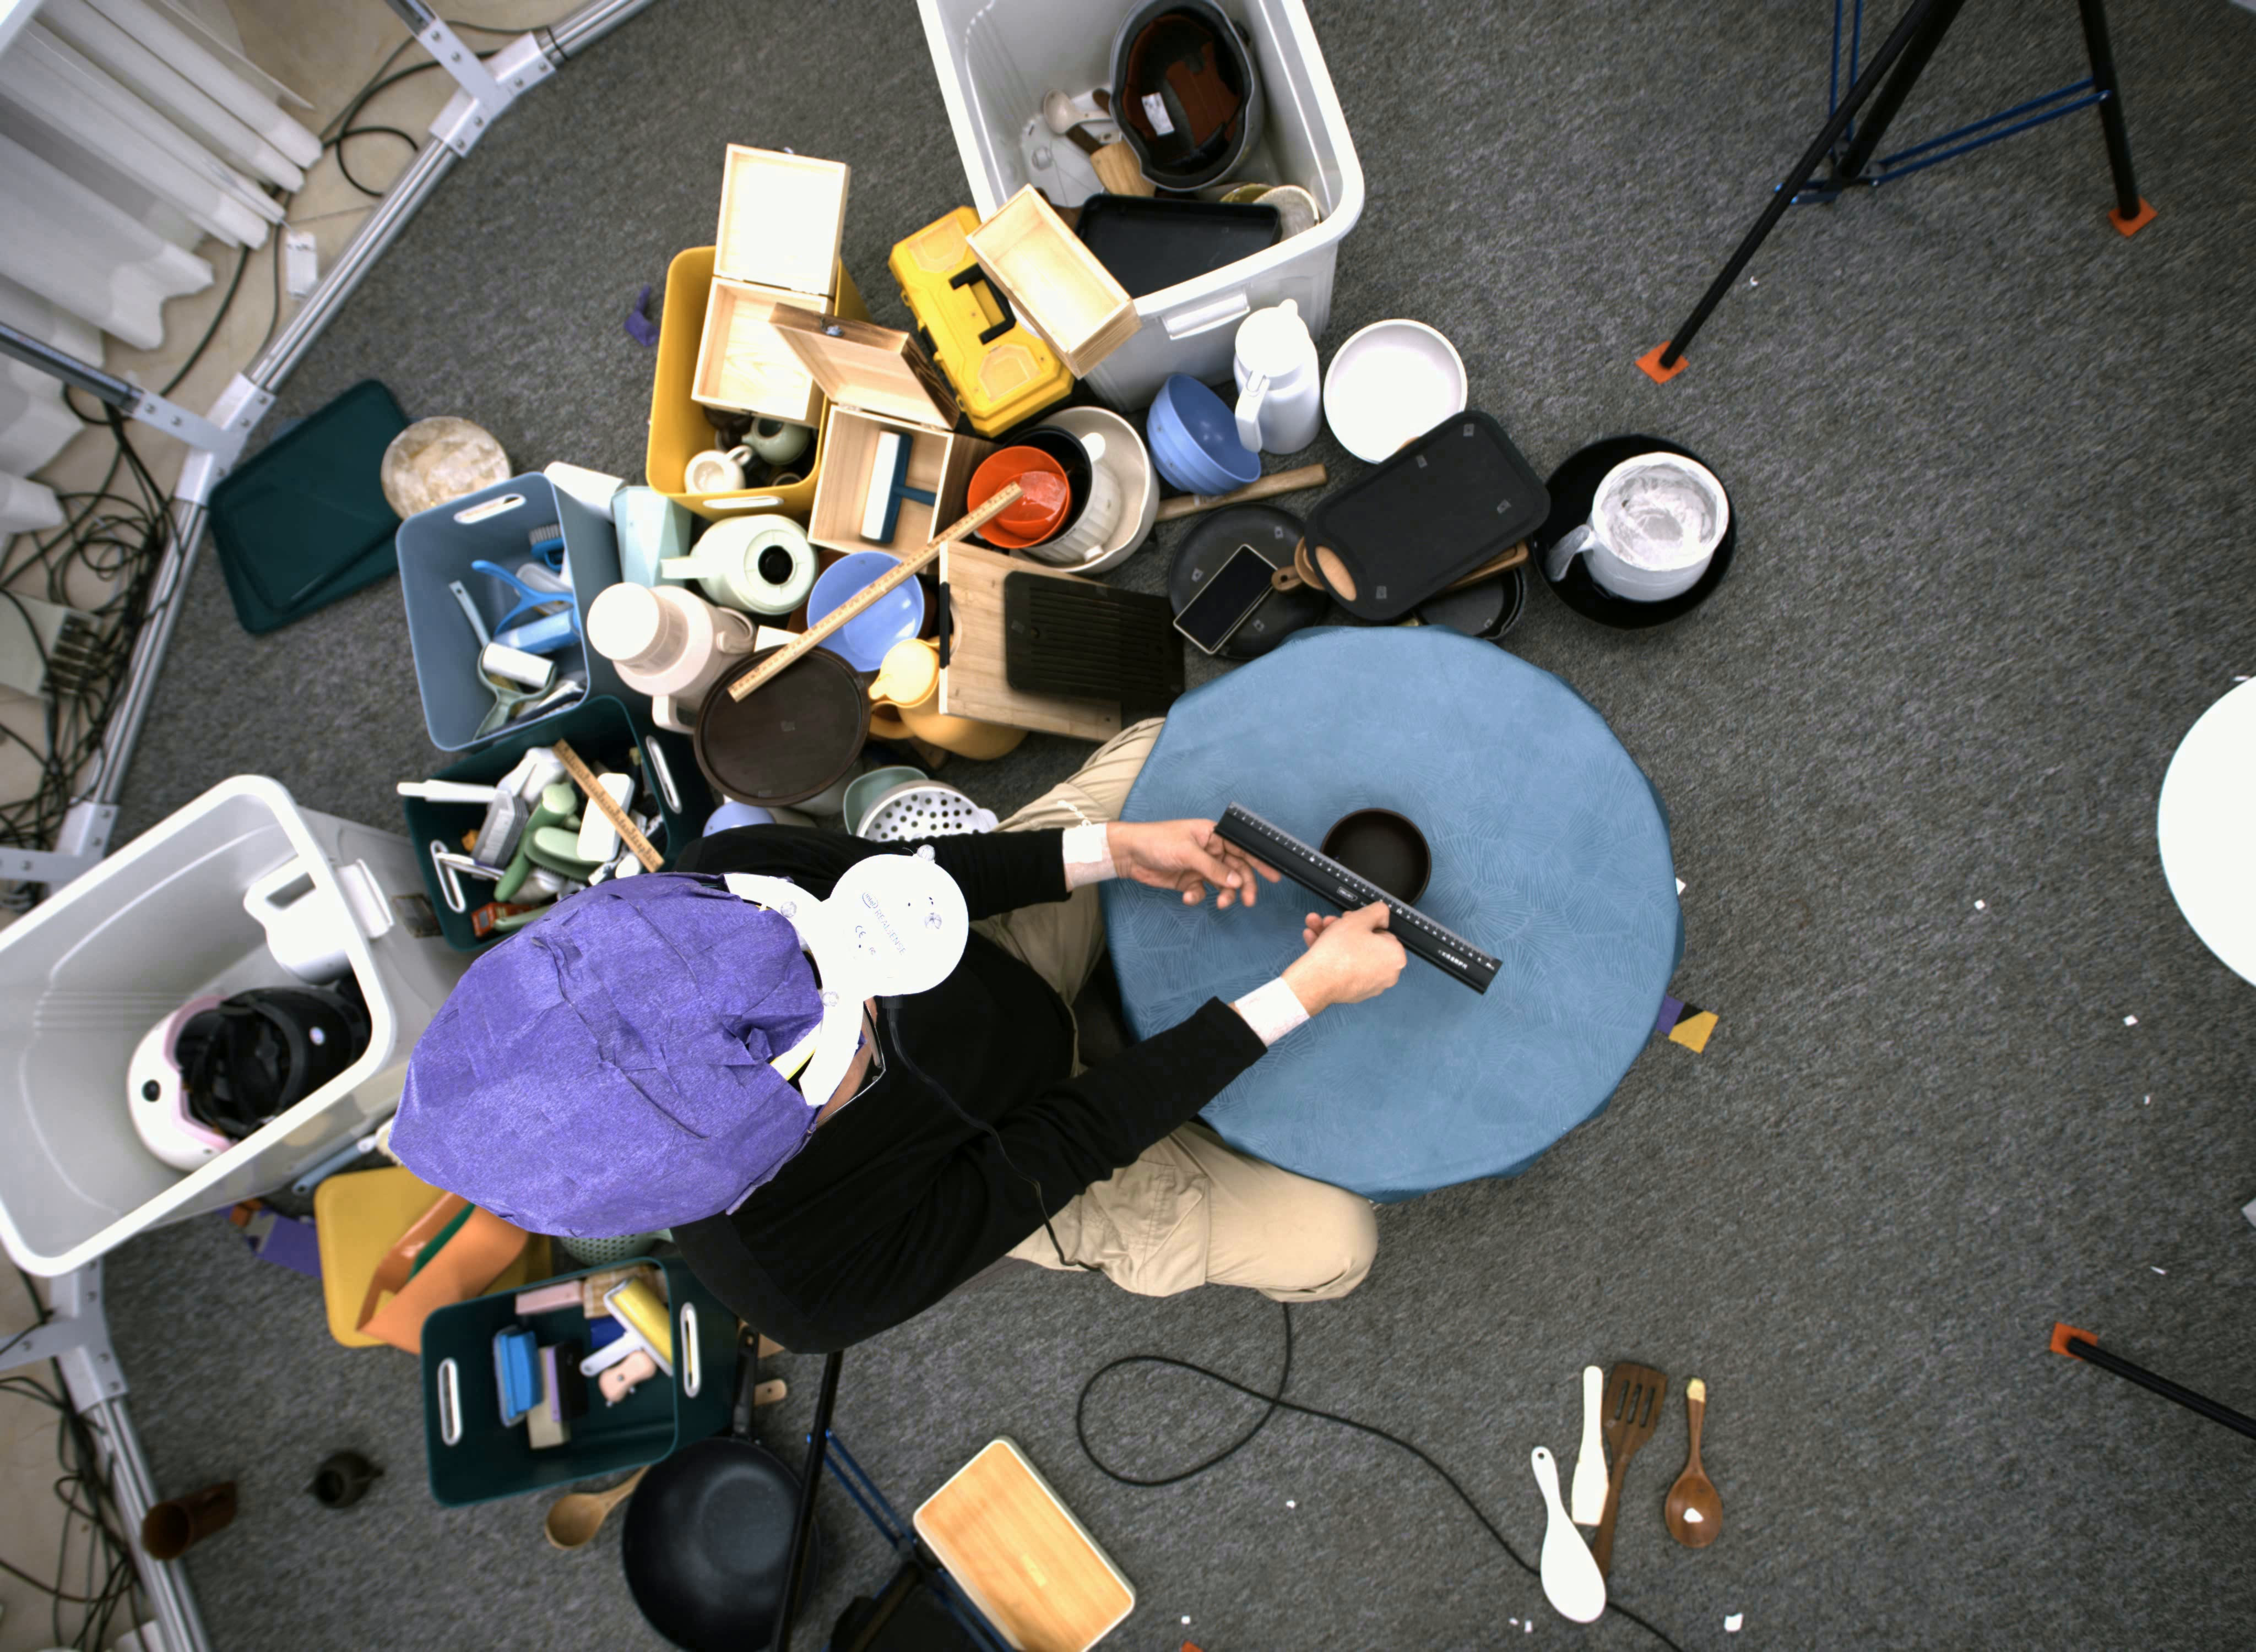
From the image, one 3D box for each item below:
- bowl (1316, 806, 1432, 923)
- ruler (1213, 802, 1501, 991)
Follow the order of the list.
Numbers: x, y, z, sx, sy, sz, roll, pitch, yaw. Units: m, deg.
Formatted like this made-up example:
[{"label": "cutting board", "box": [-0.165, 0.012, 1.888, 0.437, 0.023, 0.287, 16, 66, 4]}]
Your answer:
[{"label": "bowl", "box": [0.252, 0.042, 1.424, 0.118, 0.070, 0.117, -1, 82, 5]}, {"label": "ruler", "box": [0.224, 0.067, 1.365, 0.312, 0.017, 0.039, 31, 99, 11]}]
